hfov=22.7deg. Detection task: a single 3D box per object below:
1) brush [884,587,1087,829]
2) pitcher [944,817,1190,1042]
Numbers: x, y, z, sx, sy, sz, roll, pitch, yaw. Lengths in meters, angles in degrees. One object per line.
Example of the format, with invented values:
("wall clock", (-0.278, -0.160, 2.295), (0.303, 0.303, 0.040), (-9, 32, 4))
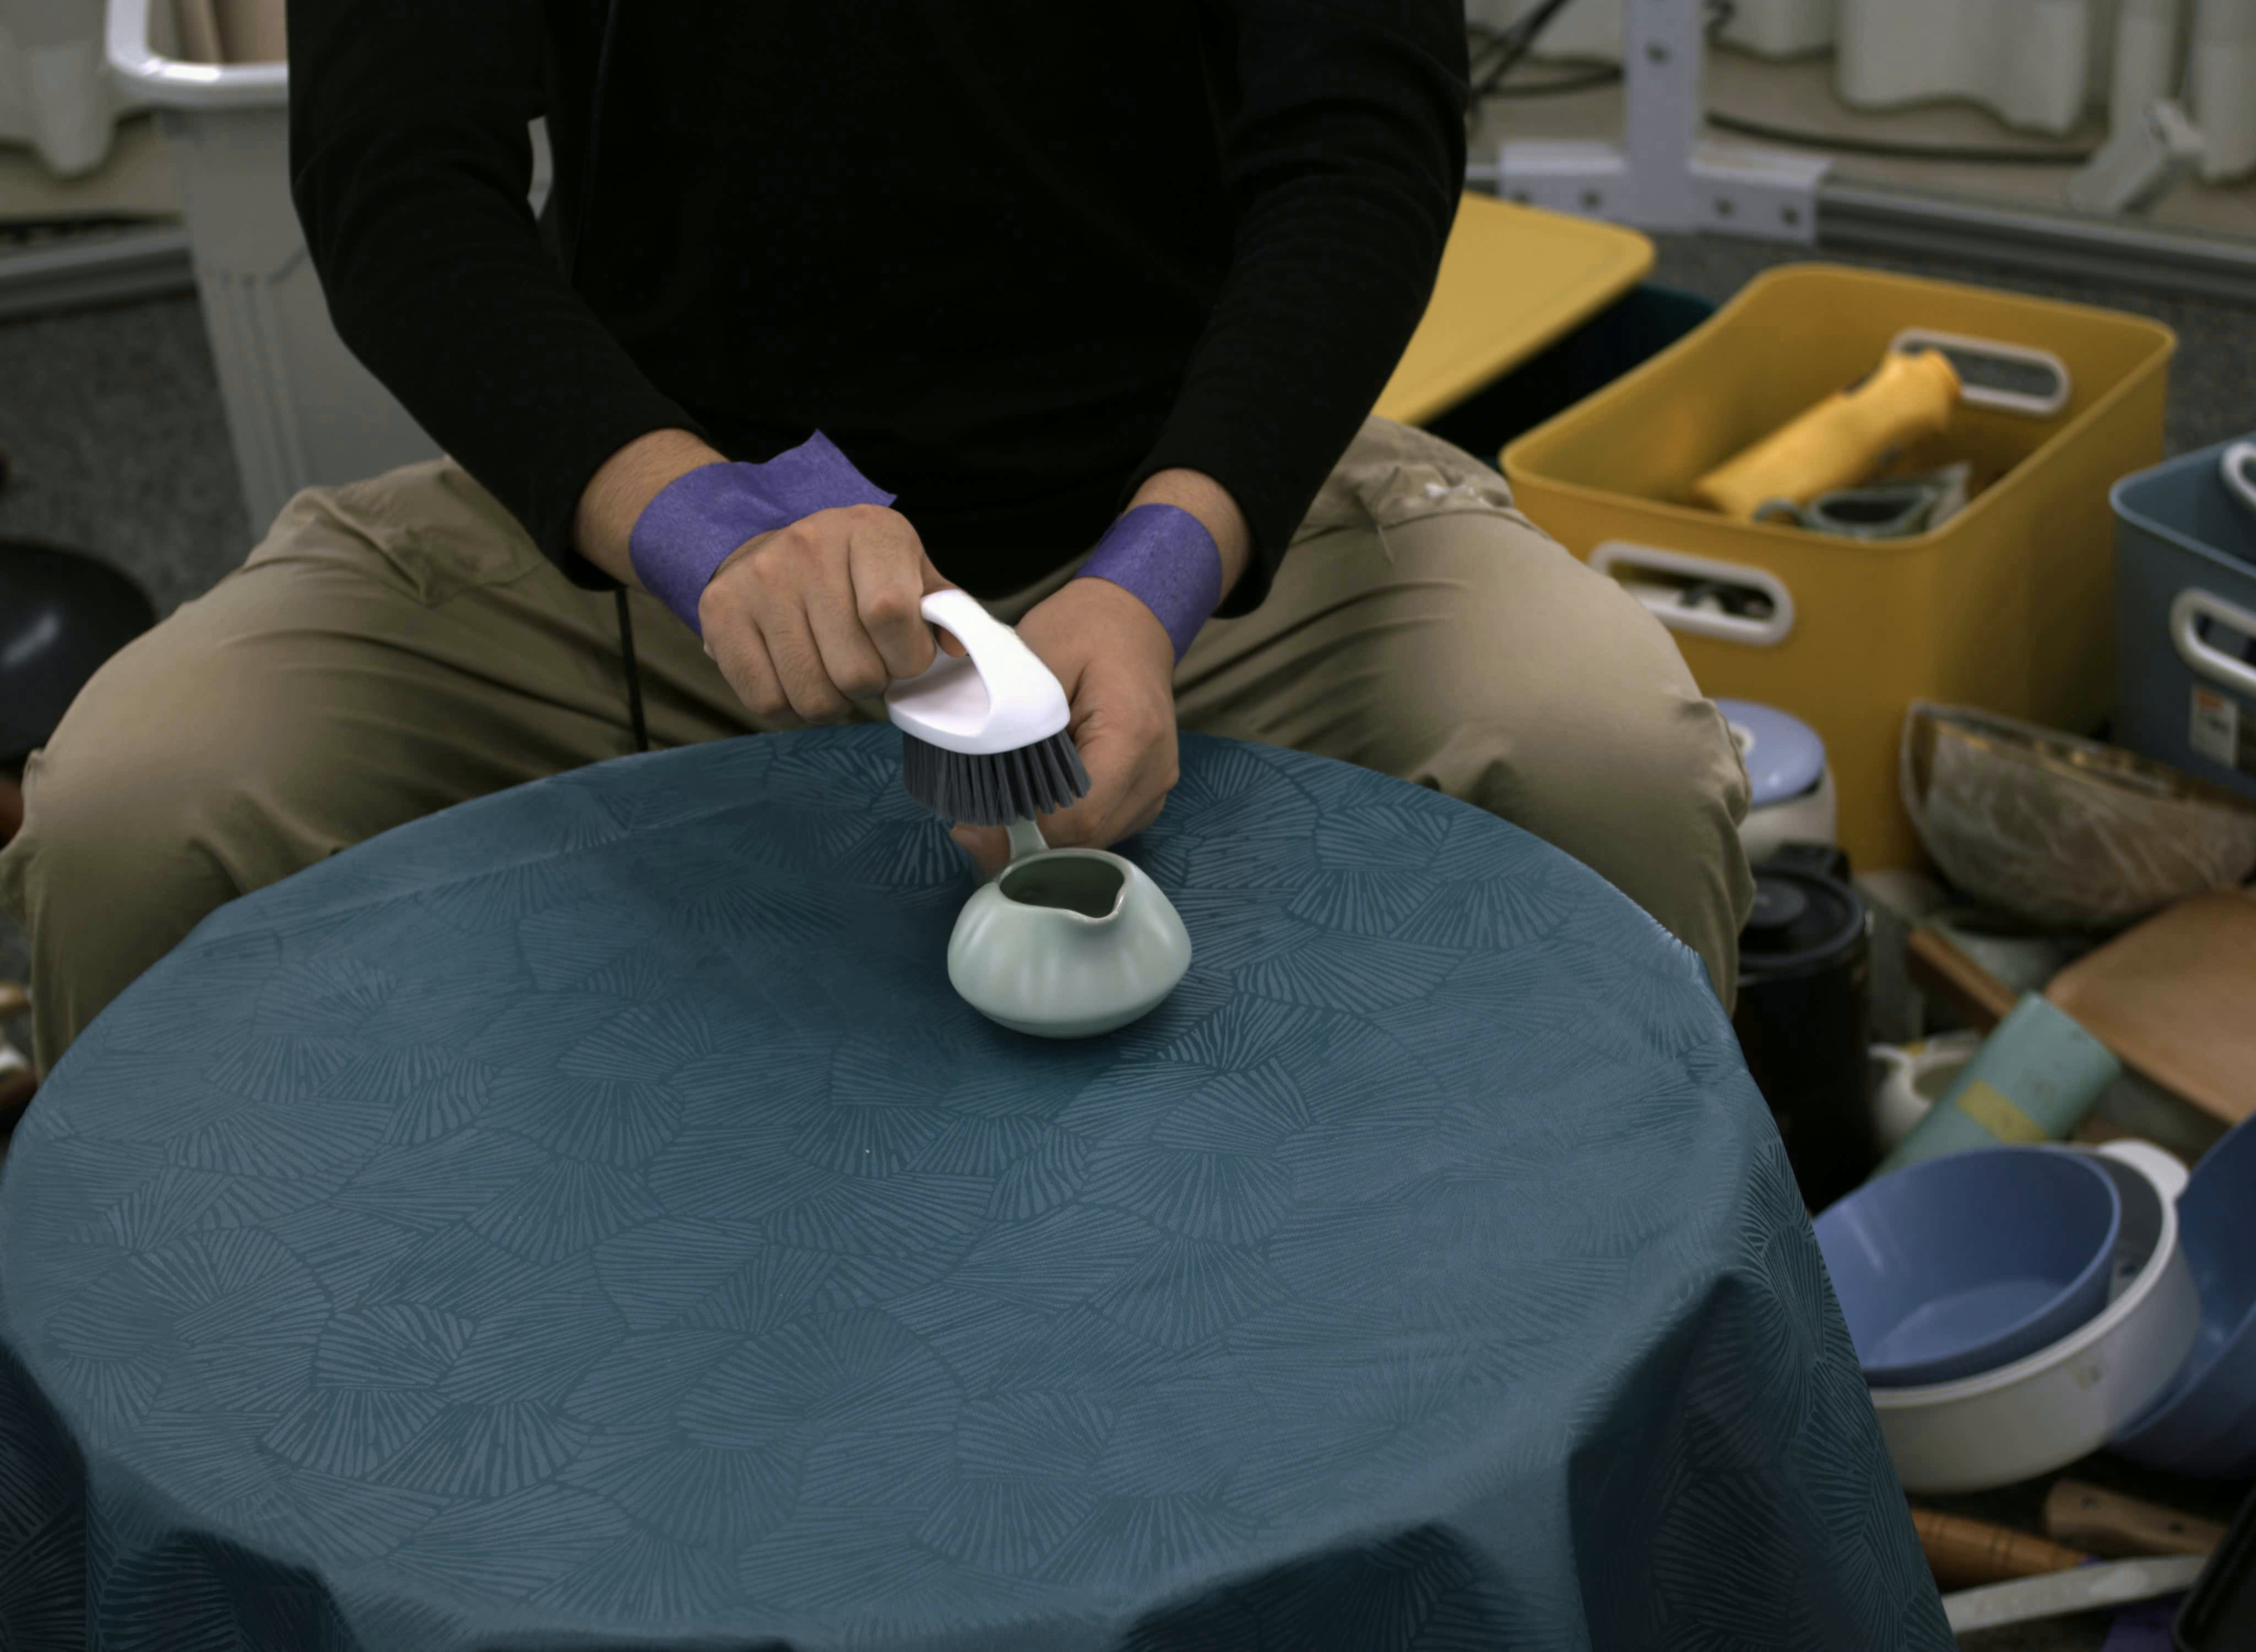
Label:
("brush", (-0.055, -0.047, 1.965), (0.050, 0.072, 0.099), (-20, 19, -18))
("pitcher", (-0.027, 0.035, 1.972), (0.086, 0.060, 0.108), (-14, 26, -21))
